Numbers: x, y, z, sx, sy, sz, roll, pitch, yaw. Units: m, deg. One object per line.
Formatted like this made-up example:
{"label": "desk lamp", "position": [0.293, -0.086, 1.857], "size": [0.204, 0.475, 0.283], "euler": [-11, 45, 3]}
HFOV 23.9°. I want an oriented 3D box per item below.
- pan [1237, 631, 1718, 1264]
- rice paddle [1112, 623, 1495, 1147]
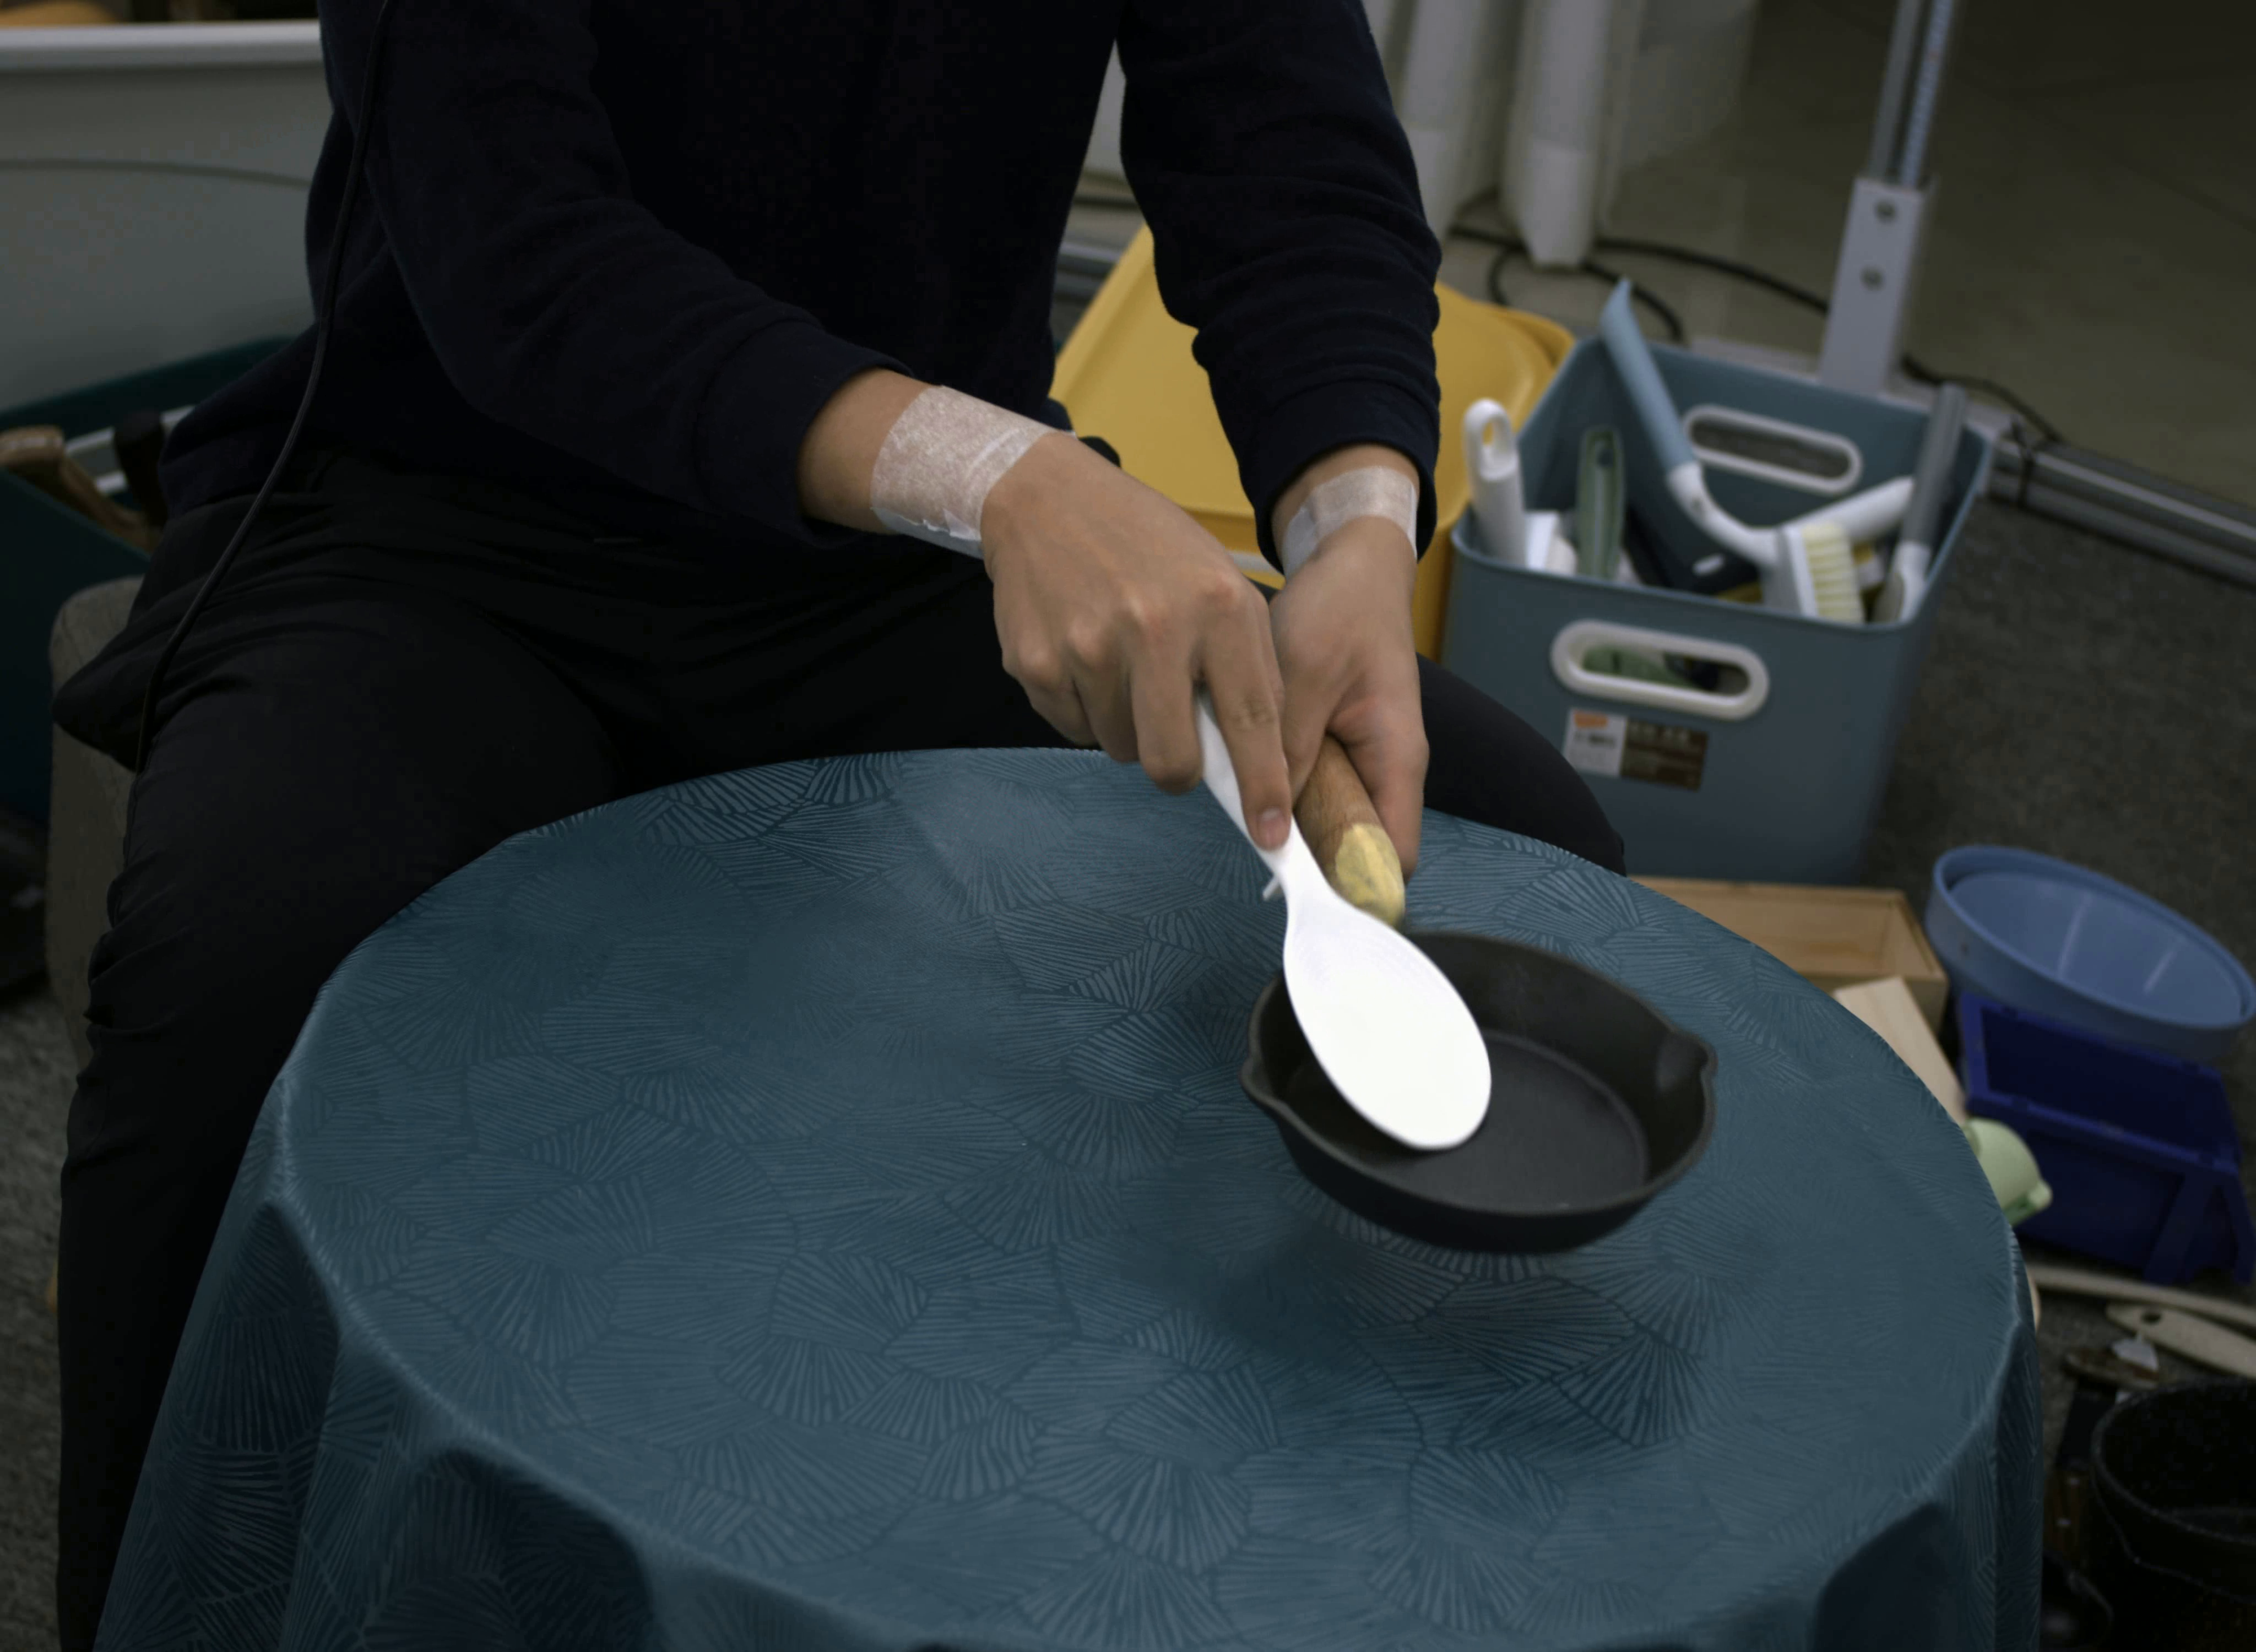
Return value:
{"label": "pan", "position": [0.093, 0.039, 1.820], "size": [0.168, 0.049, 0.327], "euler": [-1, 35, -17]}
{"label": "rice paddle", "position": [0.059, 0.021, 1.791], "size": [0.068, 0.029, 0.206], "euler": [-17, 66, -37]}
